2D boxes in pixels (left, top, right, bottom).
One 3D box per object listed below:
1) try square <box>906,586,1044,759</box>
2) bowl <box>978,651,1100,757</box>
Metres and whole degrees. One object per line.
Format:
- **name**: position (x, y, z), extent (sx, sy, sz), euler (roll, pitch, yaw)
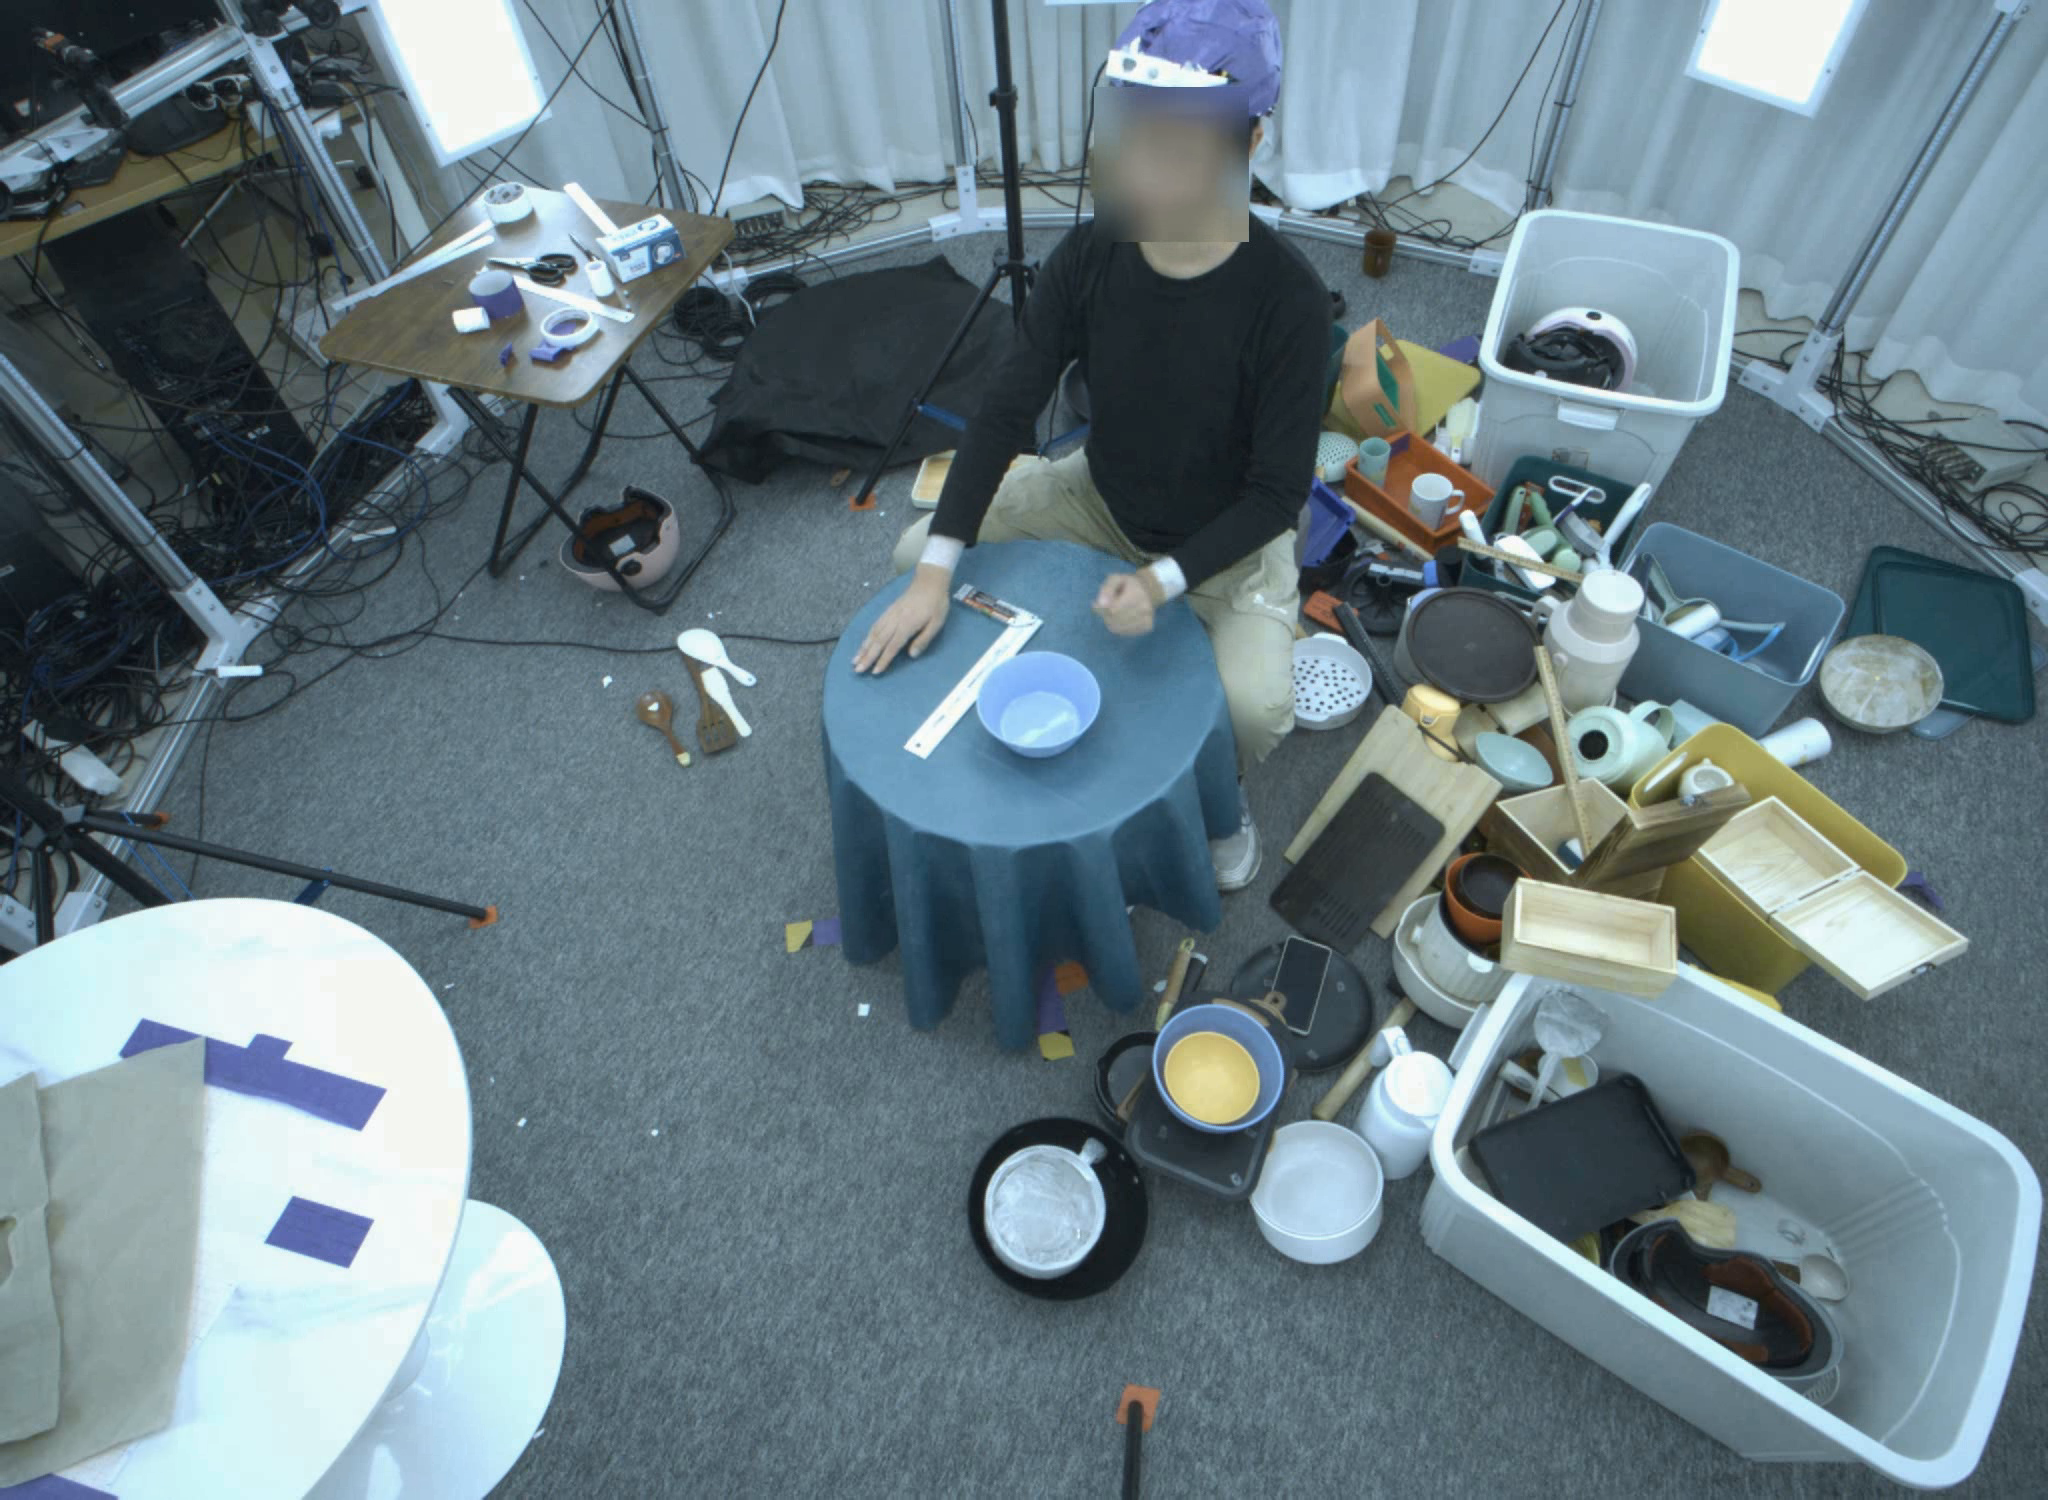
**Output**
- **try square**: position (-0.116, -0.125, 1.878), extent (0.150, 0.016, 0.314), euler (26, 61, 23)
- **bowl**: position (0.023, -0.056, 1.784), extent (0.176, 0.071, 0.174), euler (-1, 55, 2)
